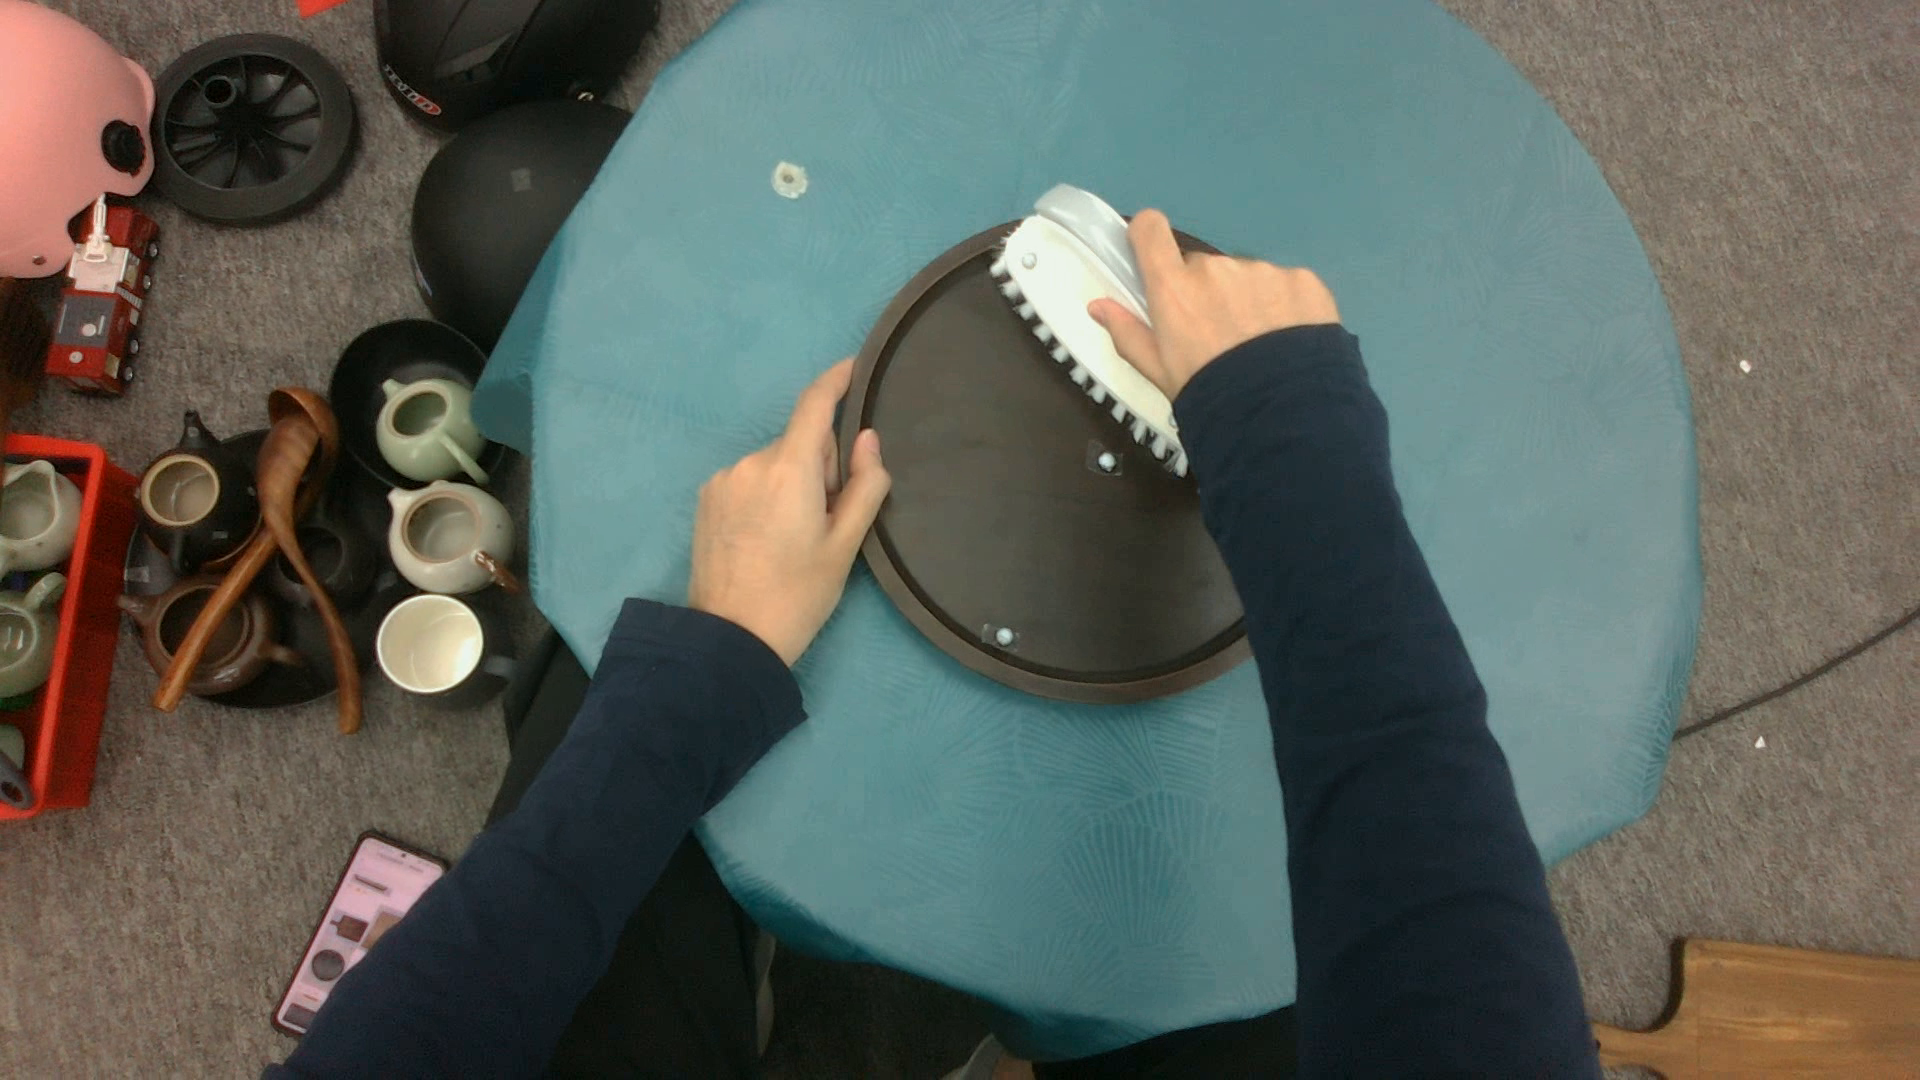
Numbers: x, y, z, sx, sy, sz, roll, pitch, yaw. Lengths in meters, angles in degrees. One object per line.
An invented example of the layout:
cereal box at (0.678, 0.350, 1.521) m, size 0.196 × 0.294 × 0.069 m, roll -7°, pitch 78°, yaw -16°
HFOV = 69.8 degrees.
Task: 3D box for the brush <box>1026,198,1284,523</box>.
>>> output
brush at (0.103, -0.086, 0.651) m, size 0.061 × 0.094 × 0.175 m, roll -34°, pitch 86°, yaw -9°

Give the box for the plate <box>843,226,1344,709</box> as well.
plate at (0.067, -0.040, 0.696) m, size 0.255 × 0.029 × 0.255 m, roll 1°, pitch 75°, yaw -5°
